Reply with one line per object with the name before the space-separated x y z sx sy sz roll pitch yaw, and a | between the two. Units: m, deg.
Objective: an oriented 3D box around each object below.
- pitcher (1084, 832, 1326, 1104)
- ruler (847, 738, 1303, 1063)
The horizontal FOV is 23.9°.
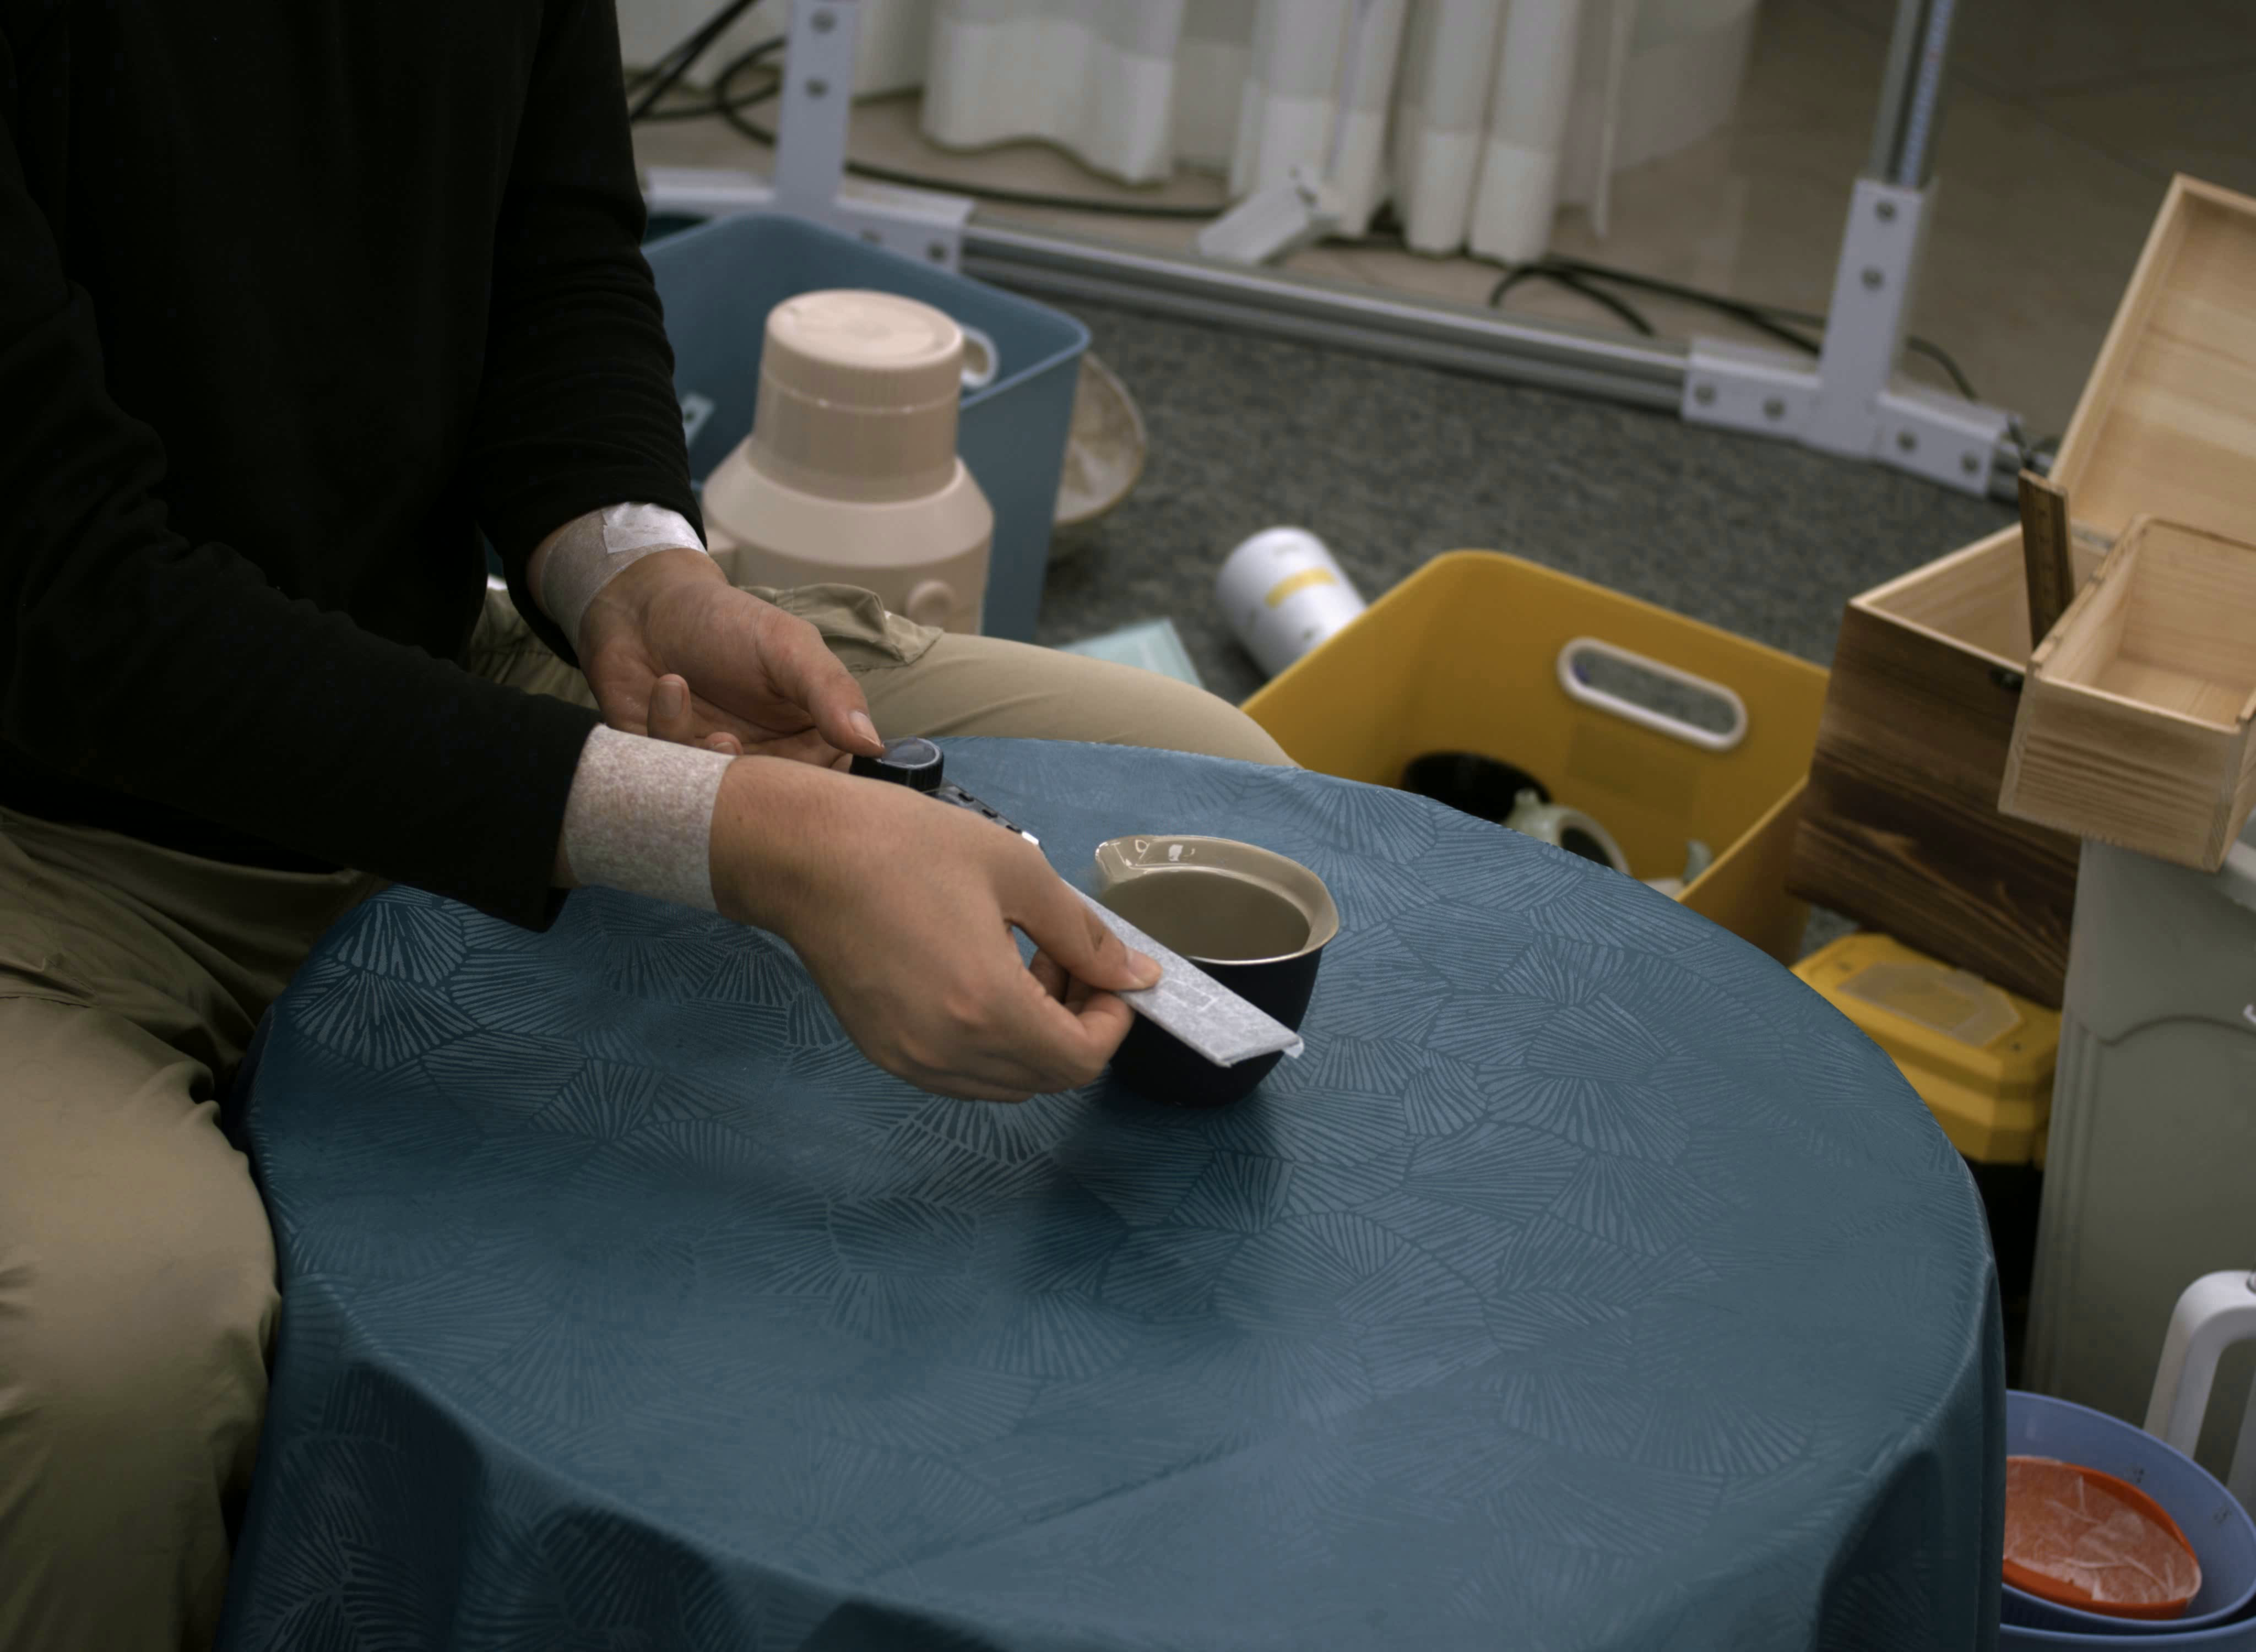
pitcher | 0.021 0.053 1.865 0.083 0.071 0.097 -17 36 -37
ruler | -0.023 0.022 1.814 0.038 0.024 0.220 -19 35 -34
